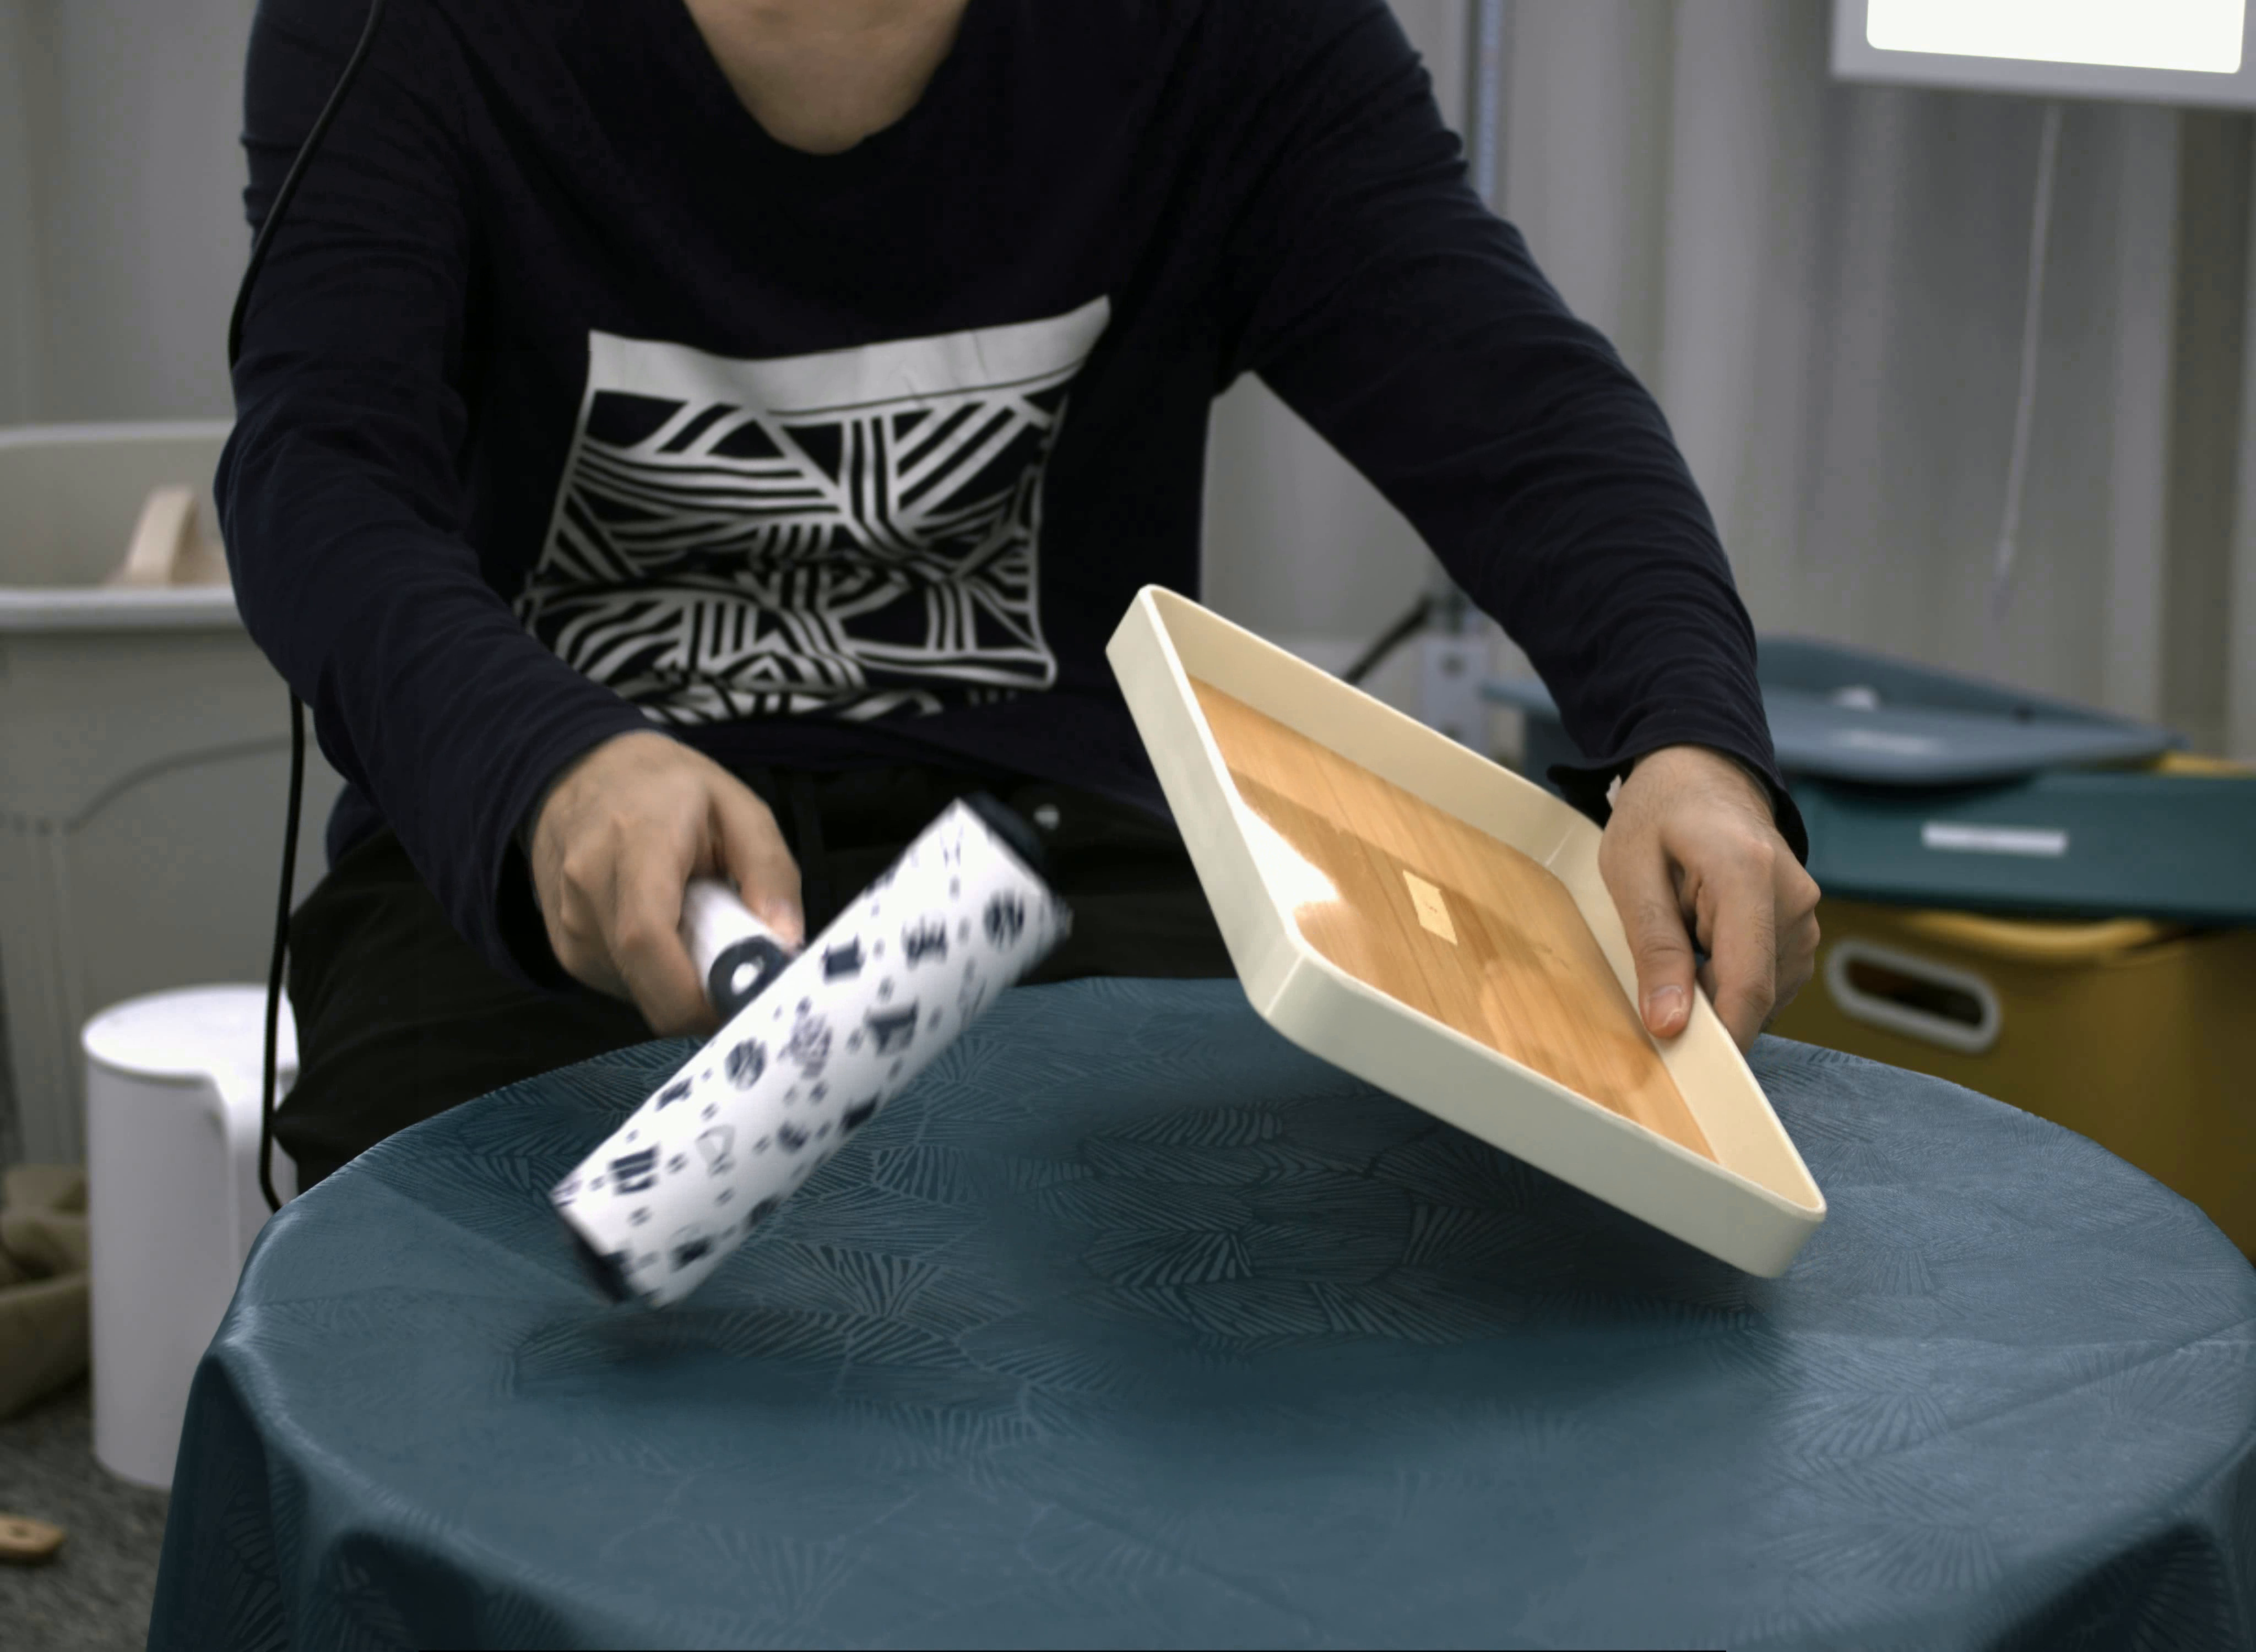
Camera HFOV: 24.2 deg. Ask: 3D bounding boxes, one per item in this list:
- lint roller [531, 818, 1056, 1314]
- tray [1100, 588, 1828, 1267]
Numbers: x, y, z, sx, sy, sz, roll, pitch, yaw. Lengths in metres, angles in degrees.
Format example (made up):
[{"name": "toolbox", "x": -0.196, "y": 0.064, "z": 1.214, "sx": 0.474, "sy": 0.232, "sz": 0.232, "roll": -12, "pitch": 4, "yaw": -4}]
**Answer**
[{"name": "lint roller", "x": -0.119, "y": 0.049, "z": 1.578, "sx": 0.176, "sy": 0.051, "sz": 0.245, "roll": -42, "pitch": 19, "yaw": -4}, {"name": "tray", "x": 0.096, "y": 0.026, "z": 1.617, "sx": 0.193, "sy": 0.027, "sz": 0.297, "roll": 25, "pitch": 17, "yaw": -19}]
